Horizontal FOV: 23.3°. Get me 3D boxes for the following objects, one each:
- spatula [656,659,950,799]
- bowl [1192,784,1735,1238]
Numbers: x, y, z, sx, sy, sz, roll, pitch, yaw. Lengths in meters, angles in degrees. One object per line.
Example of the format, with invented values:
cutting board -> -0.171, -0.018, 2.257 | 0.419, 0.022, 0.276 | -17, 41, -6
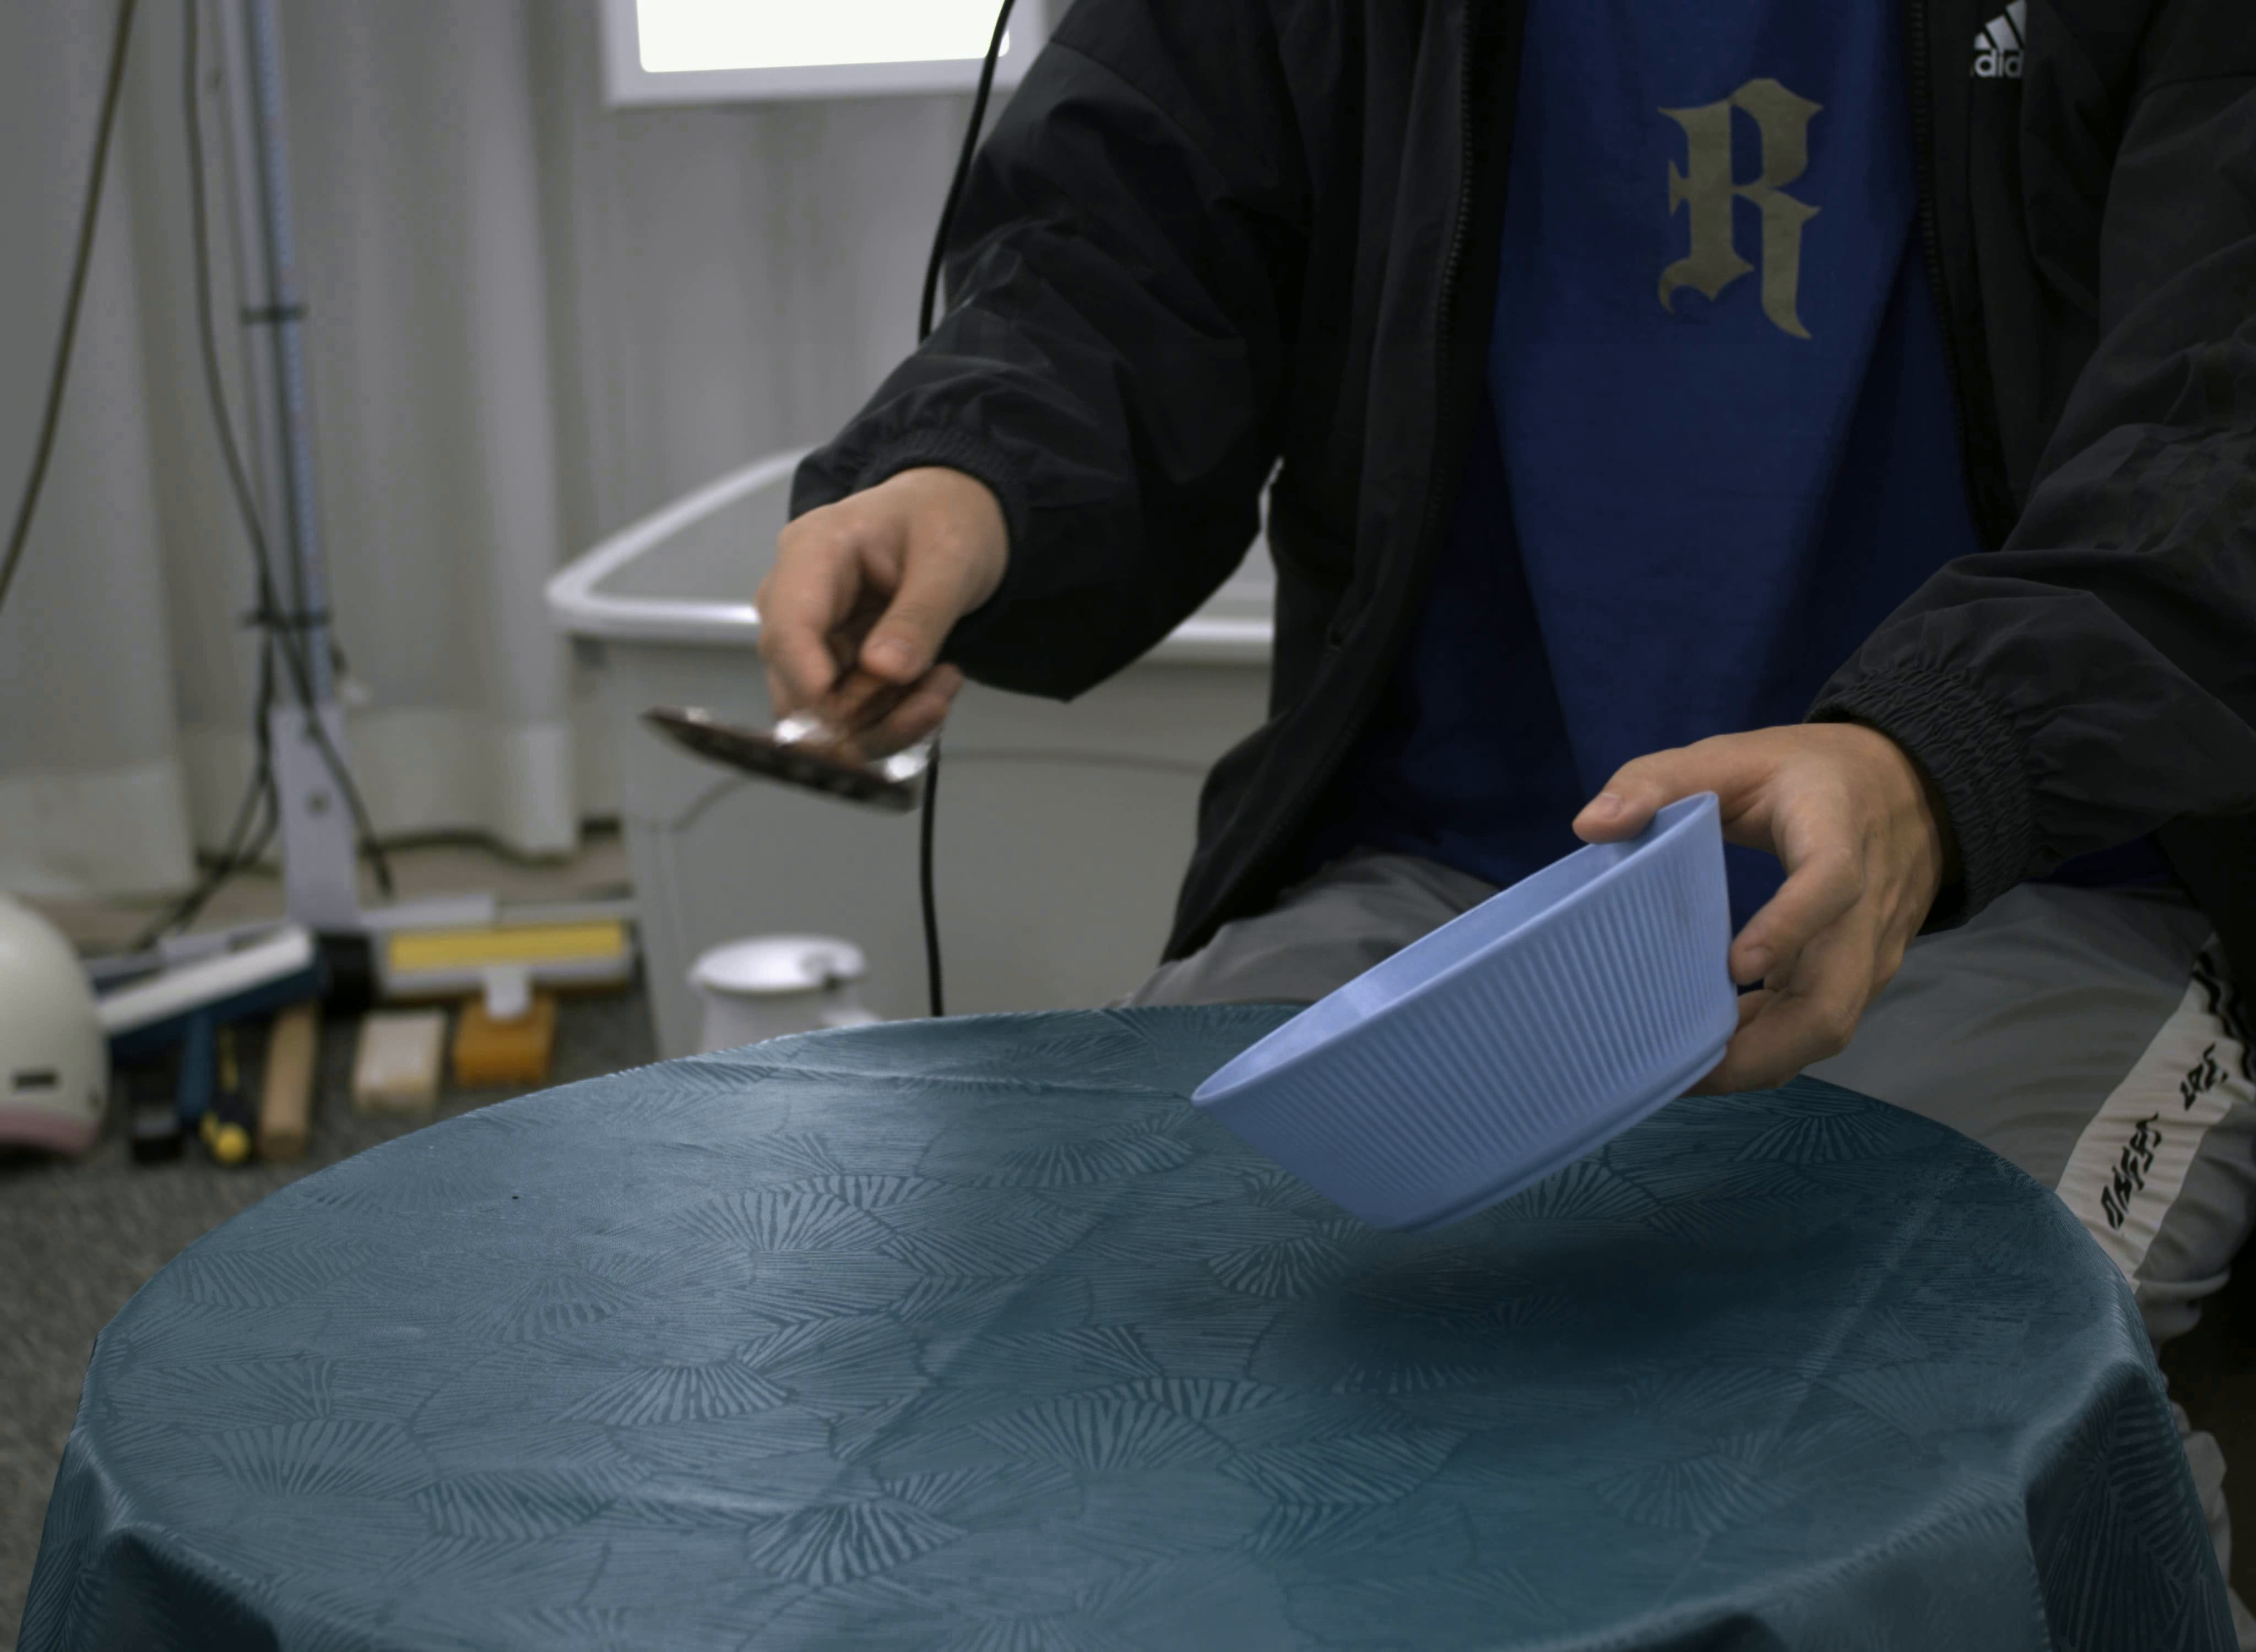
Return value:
spatula -> -0.087, -0.035, 1.755 | 0.085, 0.024, 0.387 | 16, 6, 2
bowl -> 0.108, 0.062, 1.577 | 0.176, 0.070, 0.176 | -32, 1, 0
